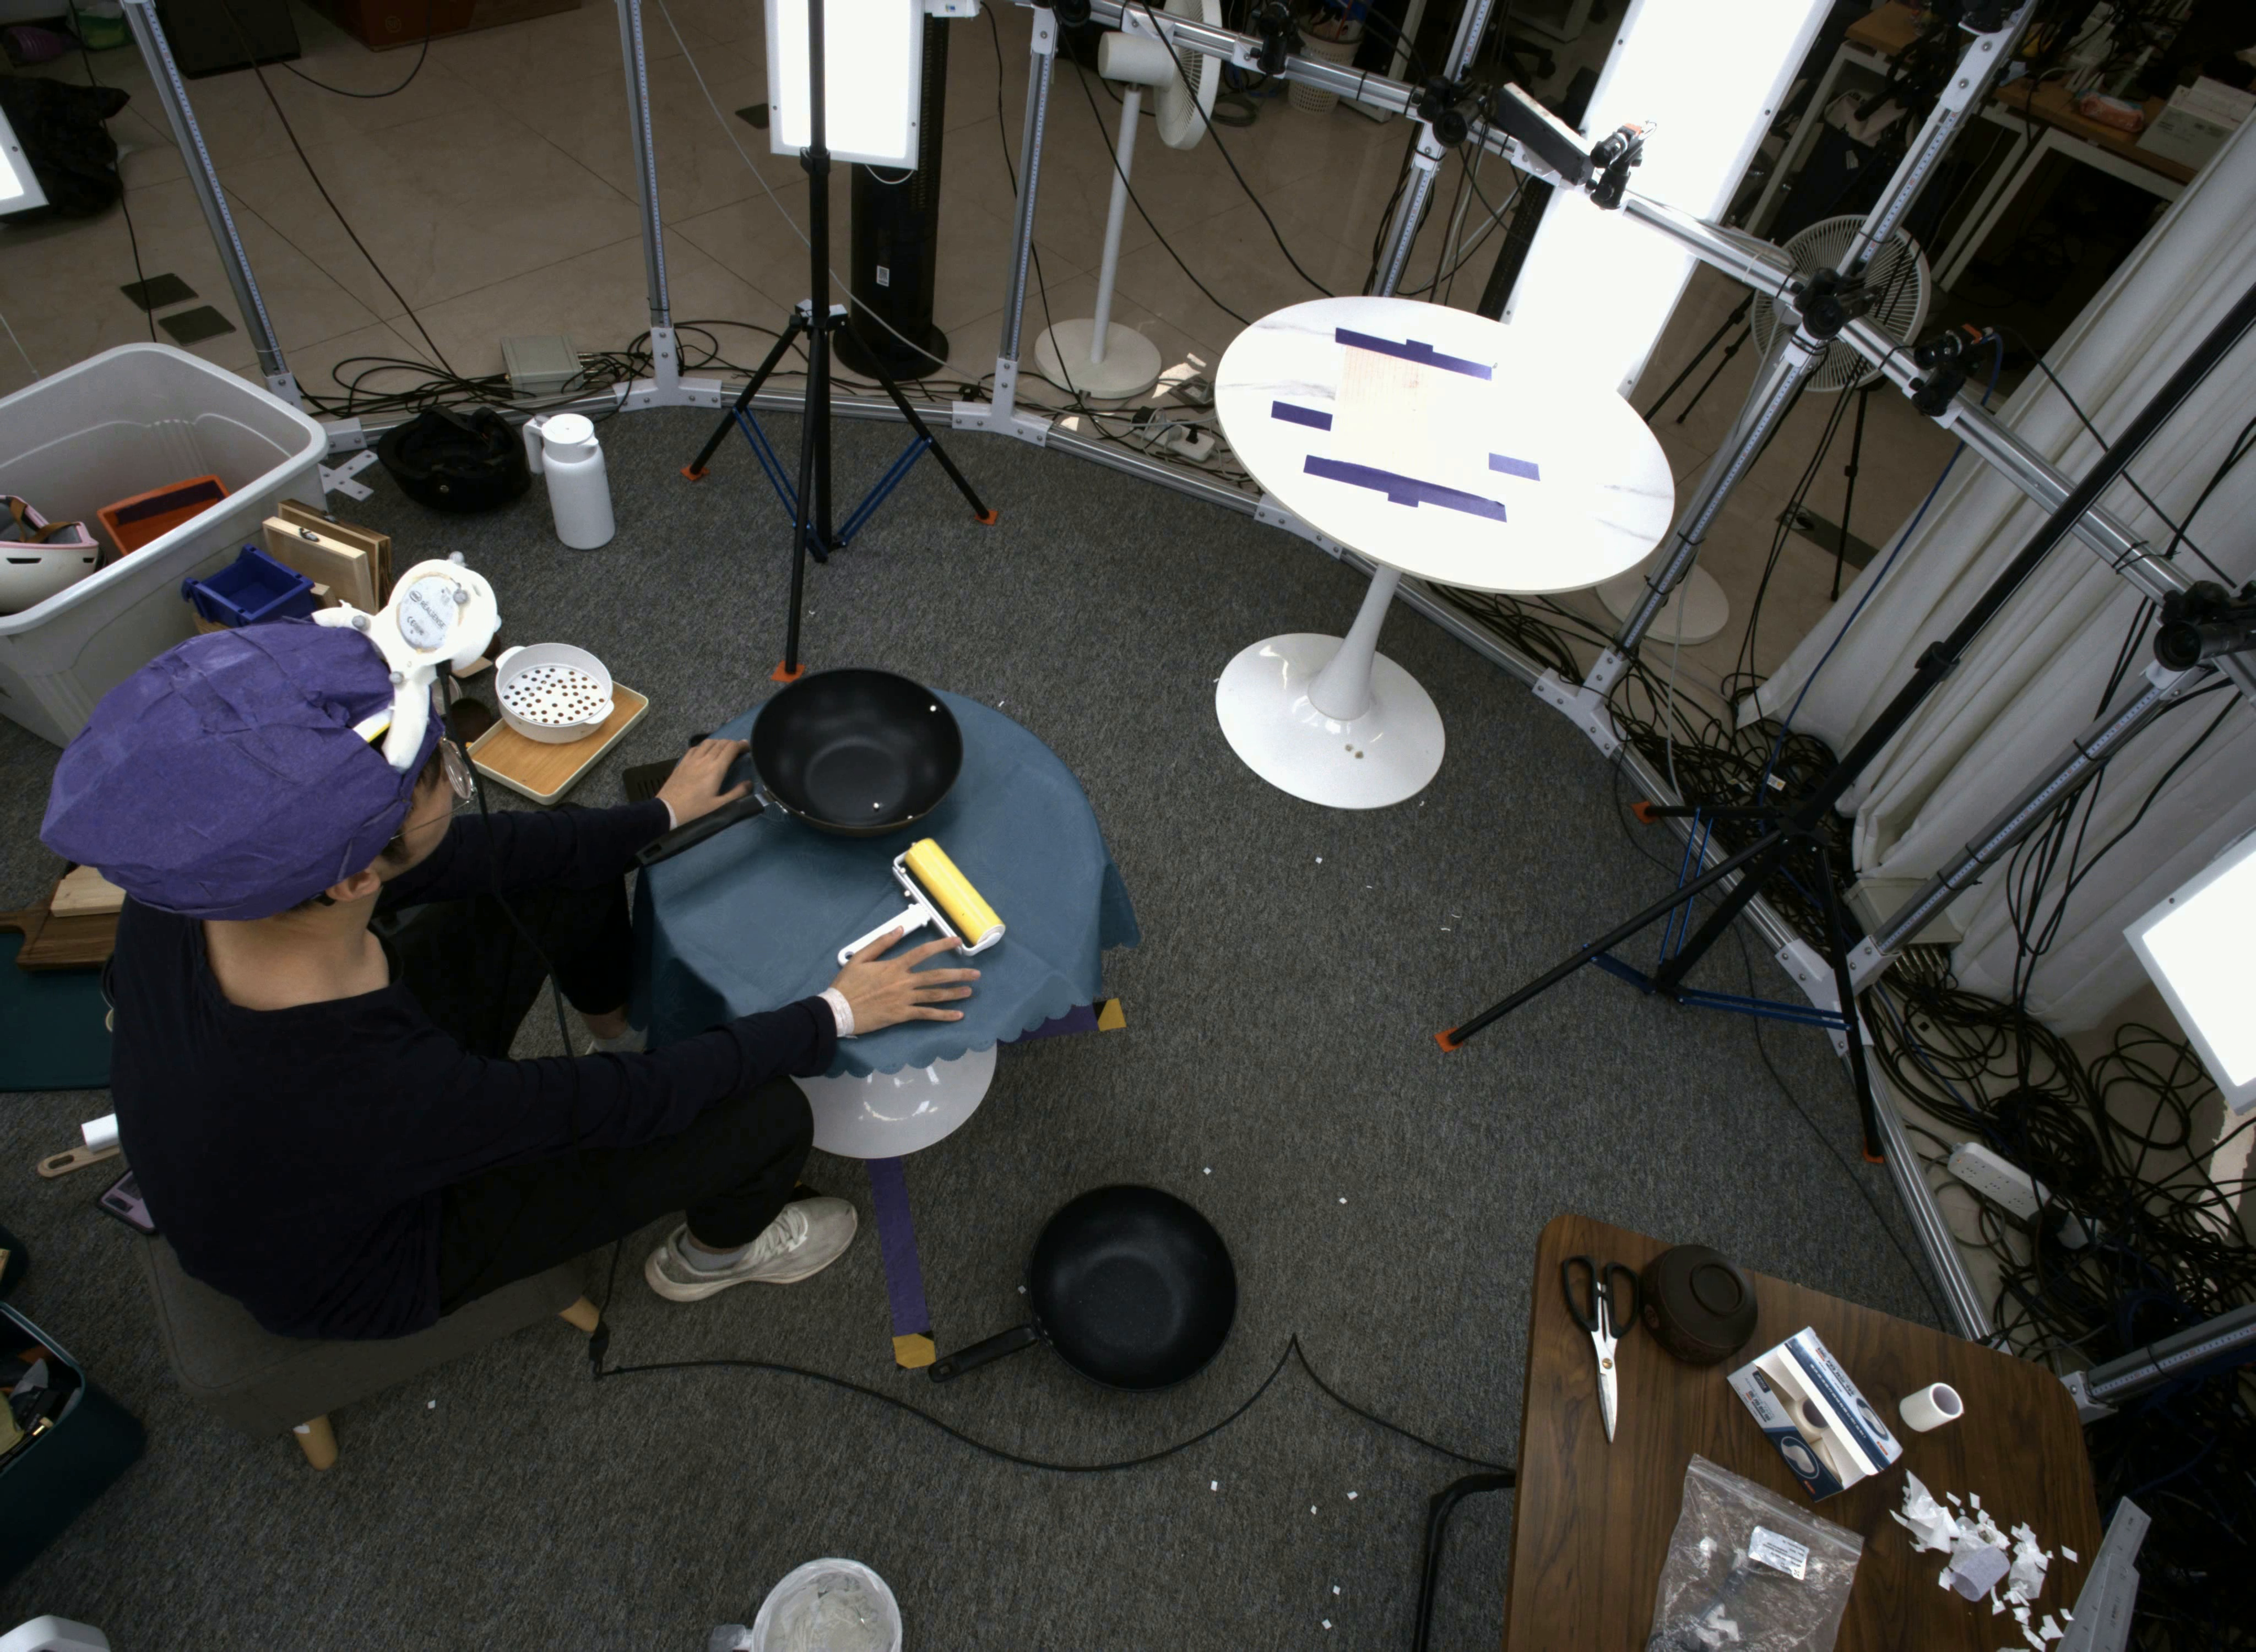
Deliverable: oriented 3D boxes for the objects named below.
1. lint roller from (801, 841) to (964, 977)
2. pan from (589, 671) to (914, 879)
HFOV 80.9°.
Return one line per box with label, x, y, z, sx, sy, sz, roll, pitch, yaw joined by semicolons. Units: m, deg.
lint roller;-0.330;0.122;1.638;0.192;0.052;0.170;-33;67;-32
pan;-0.491;-0.034;1.690;0.281;0.089;0.464;42;56;18
